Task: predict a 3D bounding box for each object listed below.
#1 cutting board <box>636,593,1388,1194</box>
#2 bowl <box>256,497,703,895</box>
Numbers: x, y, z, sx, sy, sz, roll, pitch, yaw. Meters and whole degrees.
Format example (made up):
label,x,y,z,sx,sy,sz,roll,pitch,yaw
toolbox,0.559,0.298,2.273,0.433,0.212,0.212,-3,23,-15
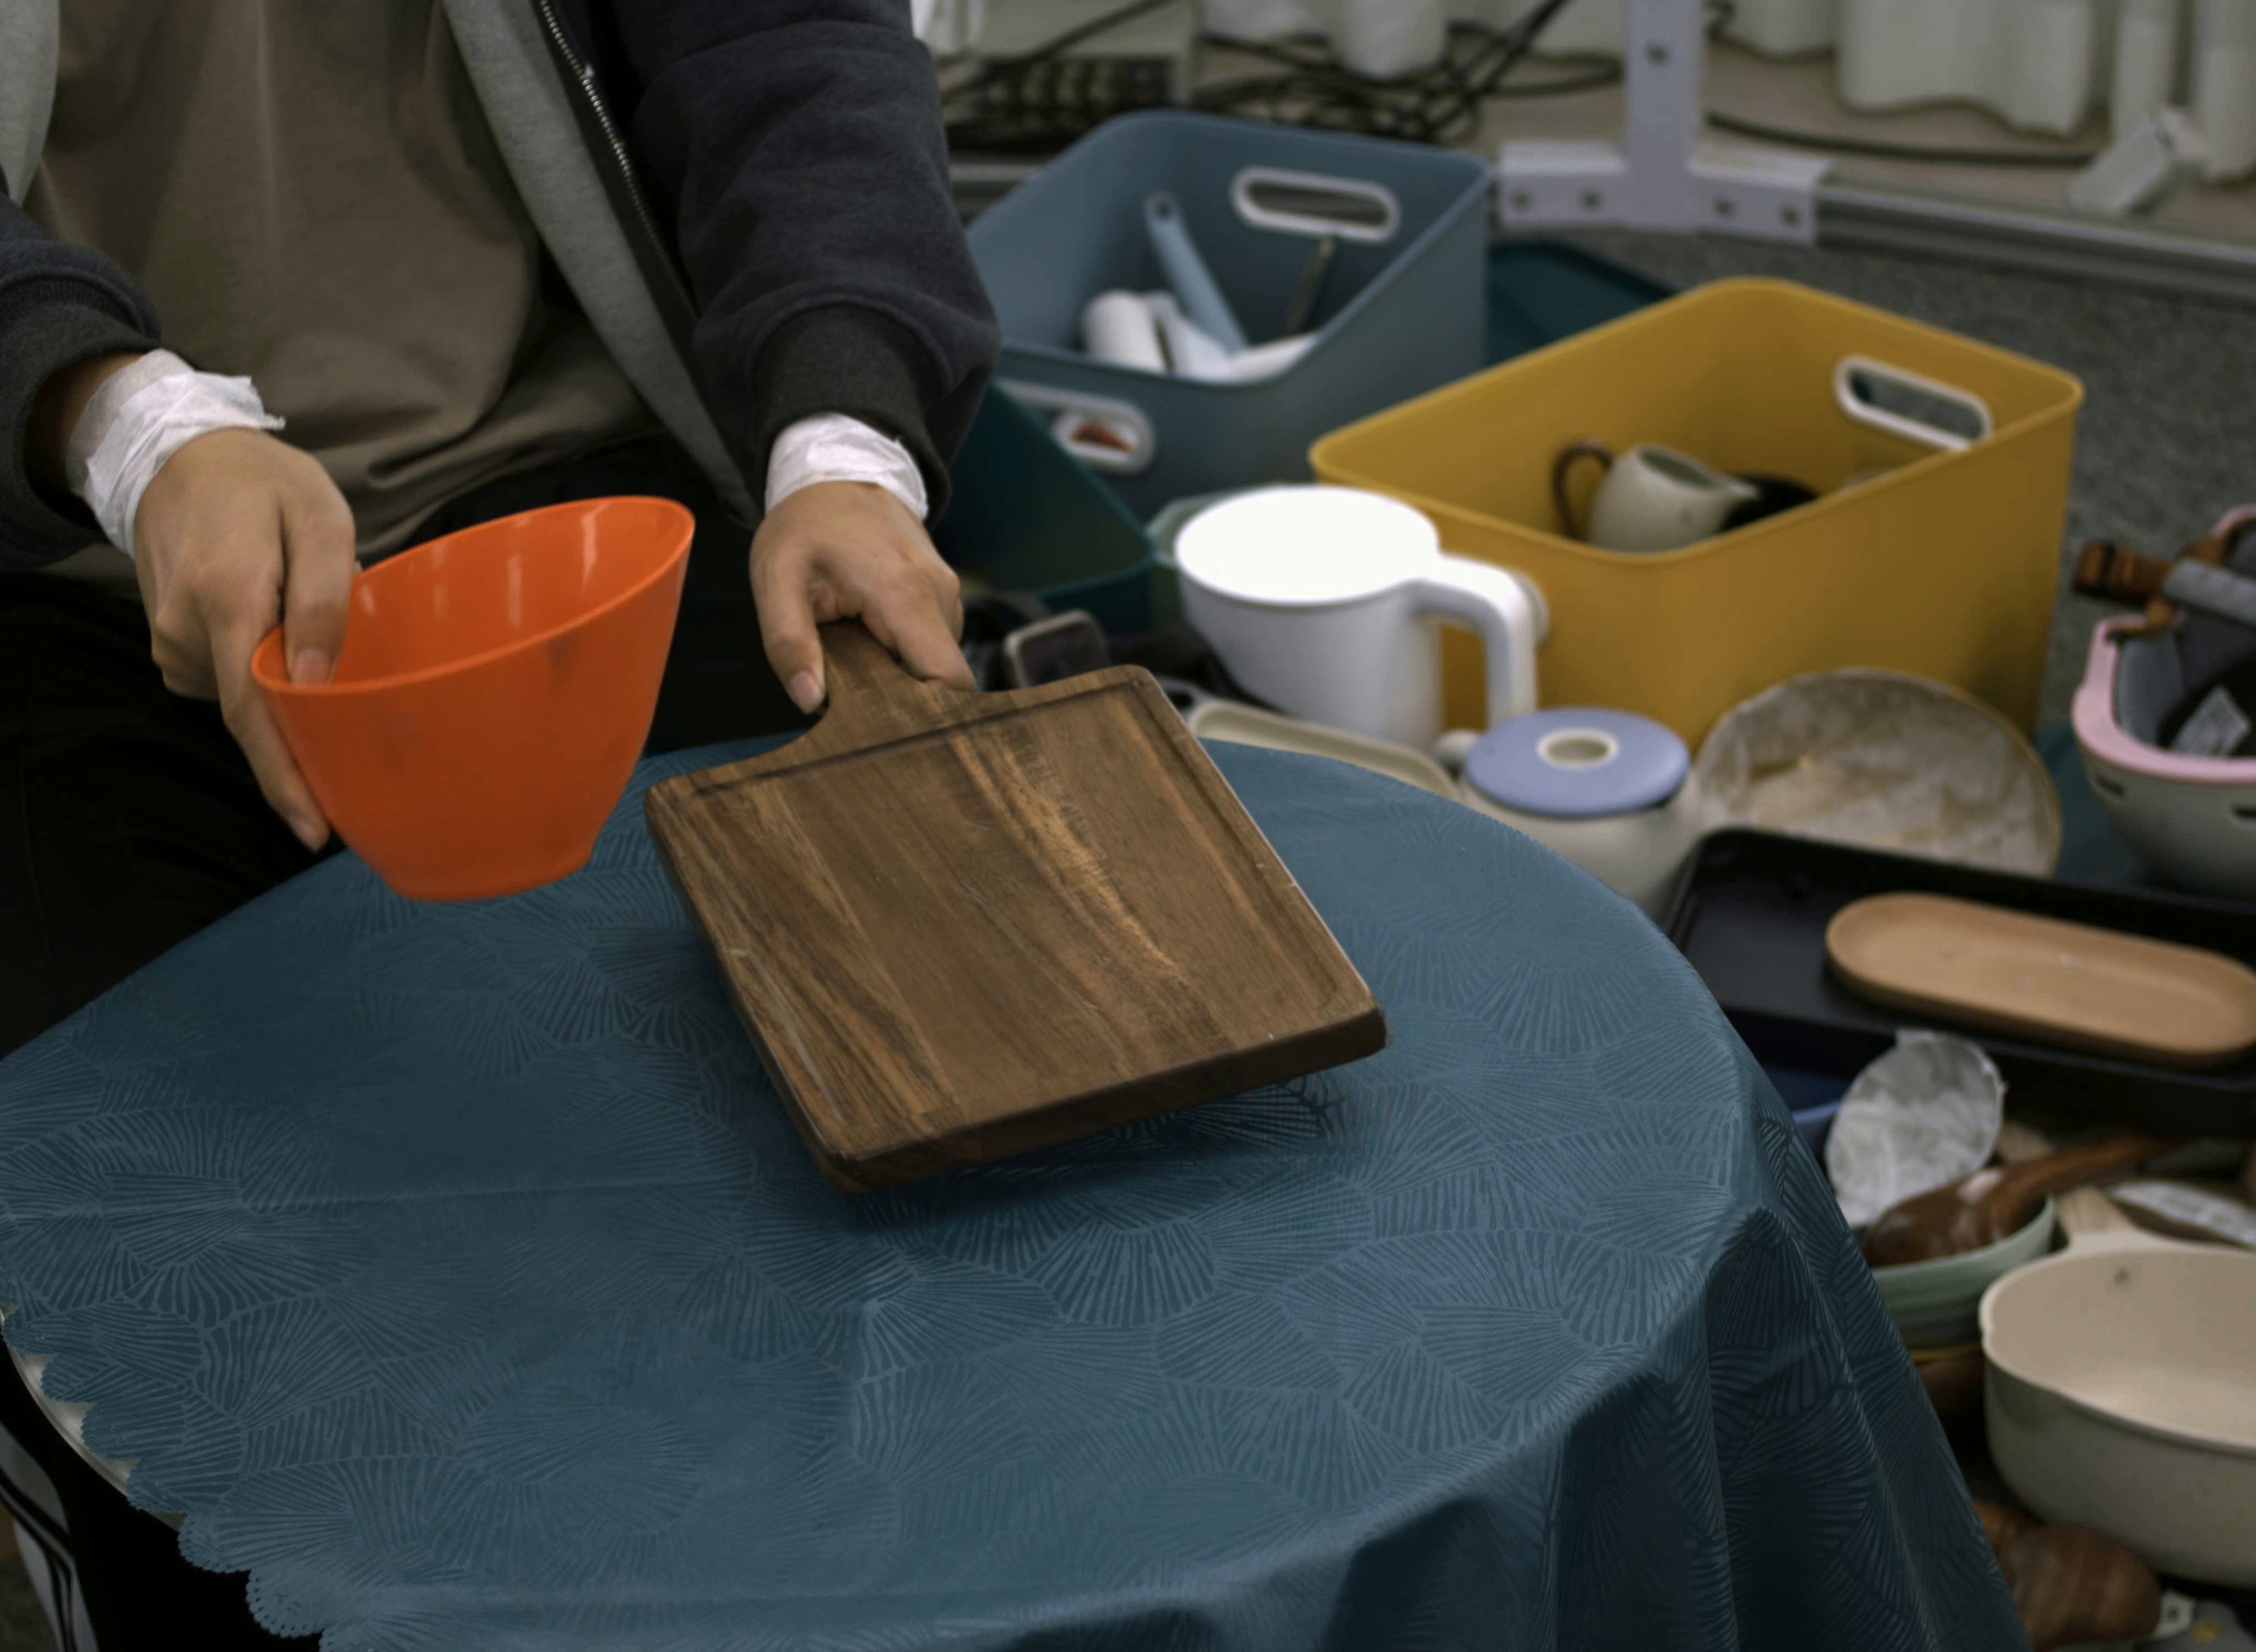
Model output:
label,x,y,z,sx,sy,sz,roll,pitch,yaw
cutting board,-0.061,0.006,1.992,0.201,0.023,0.356,-14,33,-14
bowl,-0.202,-0.038,1.814,0.147,0.104,0.149,-6,15,2
